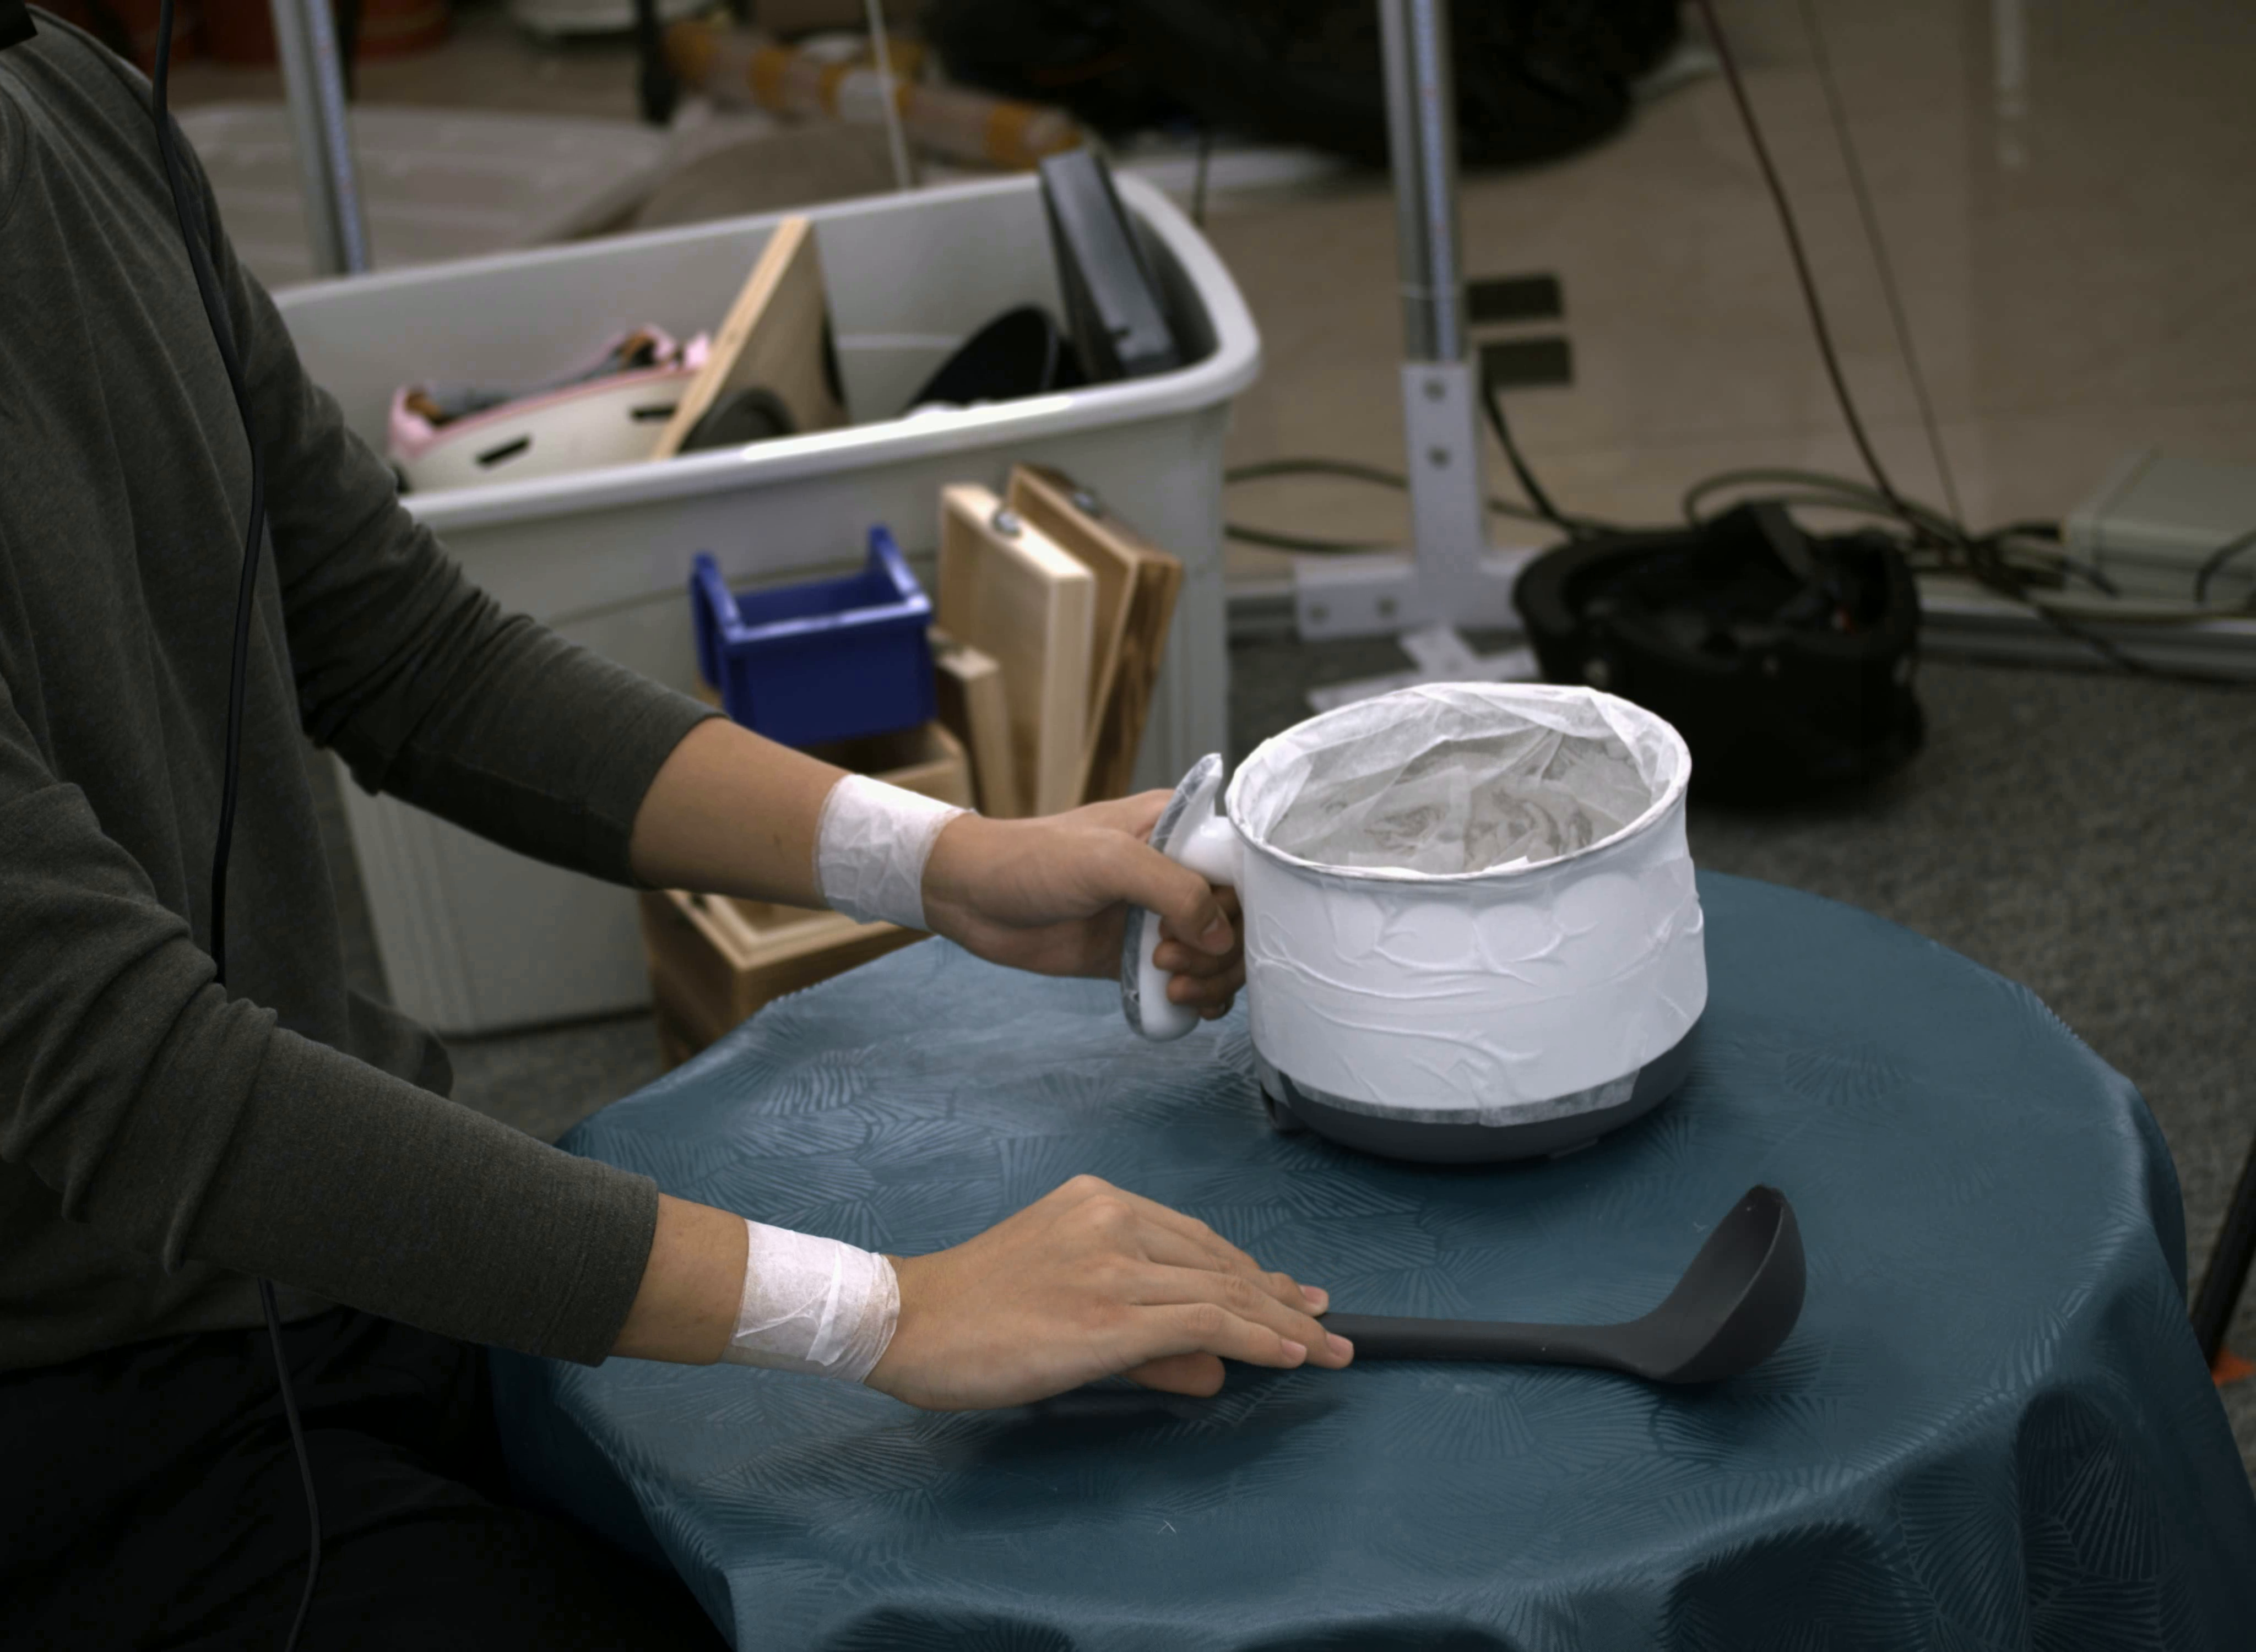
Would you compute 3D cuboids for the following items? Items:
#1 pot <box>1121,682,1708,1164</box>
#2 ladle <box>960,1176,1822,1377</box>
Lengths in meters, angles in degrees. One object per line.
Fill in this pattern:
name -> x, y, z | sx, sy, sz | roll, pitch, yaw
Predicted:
pot -> 0.106, 0.038, 2.179 | 0.233, 0.139, 0.176 | 2, 26, 19
ladle -> 0.088, 0.160, 2.008 | 0.313, 0.065, 0.085 | 0, 23, 15
